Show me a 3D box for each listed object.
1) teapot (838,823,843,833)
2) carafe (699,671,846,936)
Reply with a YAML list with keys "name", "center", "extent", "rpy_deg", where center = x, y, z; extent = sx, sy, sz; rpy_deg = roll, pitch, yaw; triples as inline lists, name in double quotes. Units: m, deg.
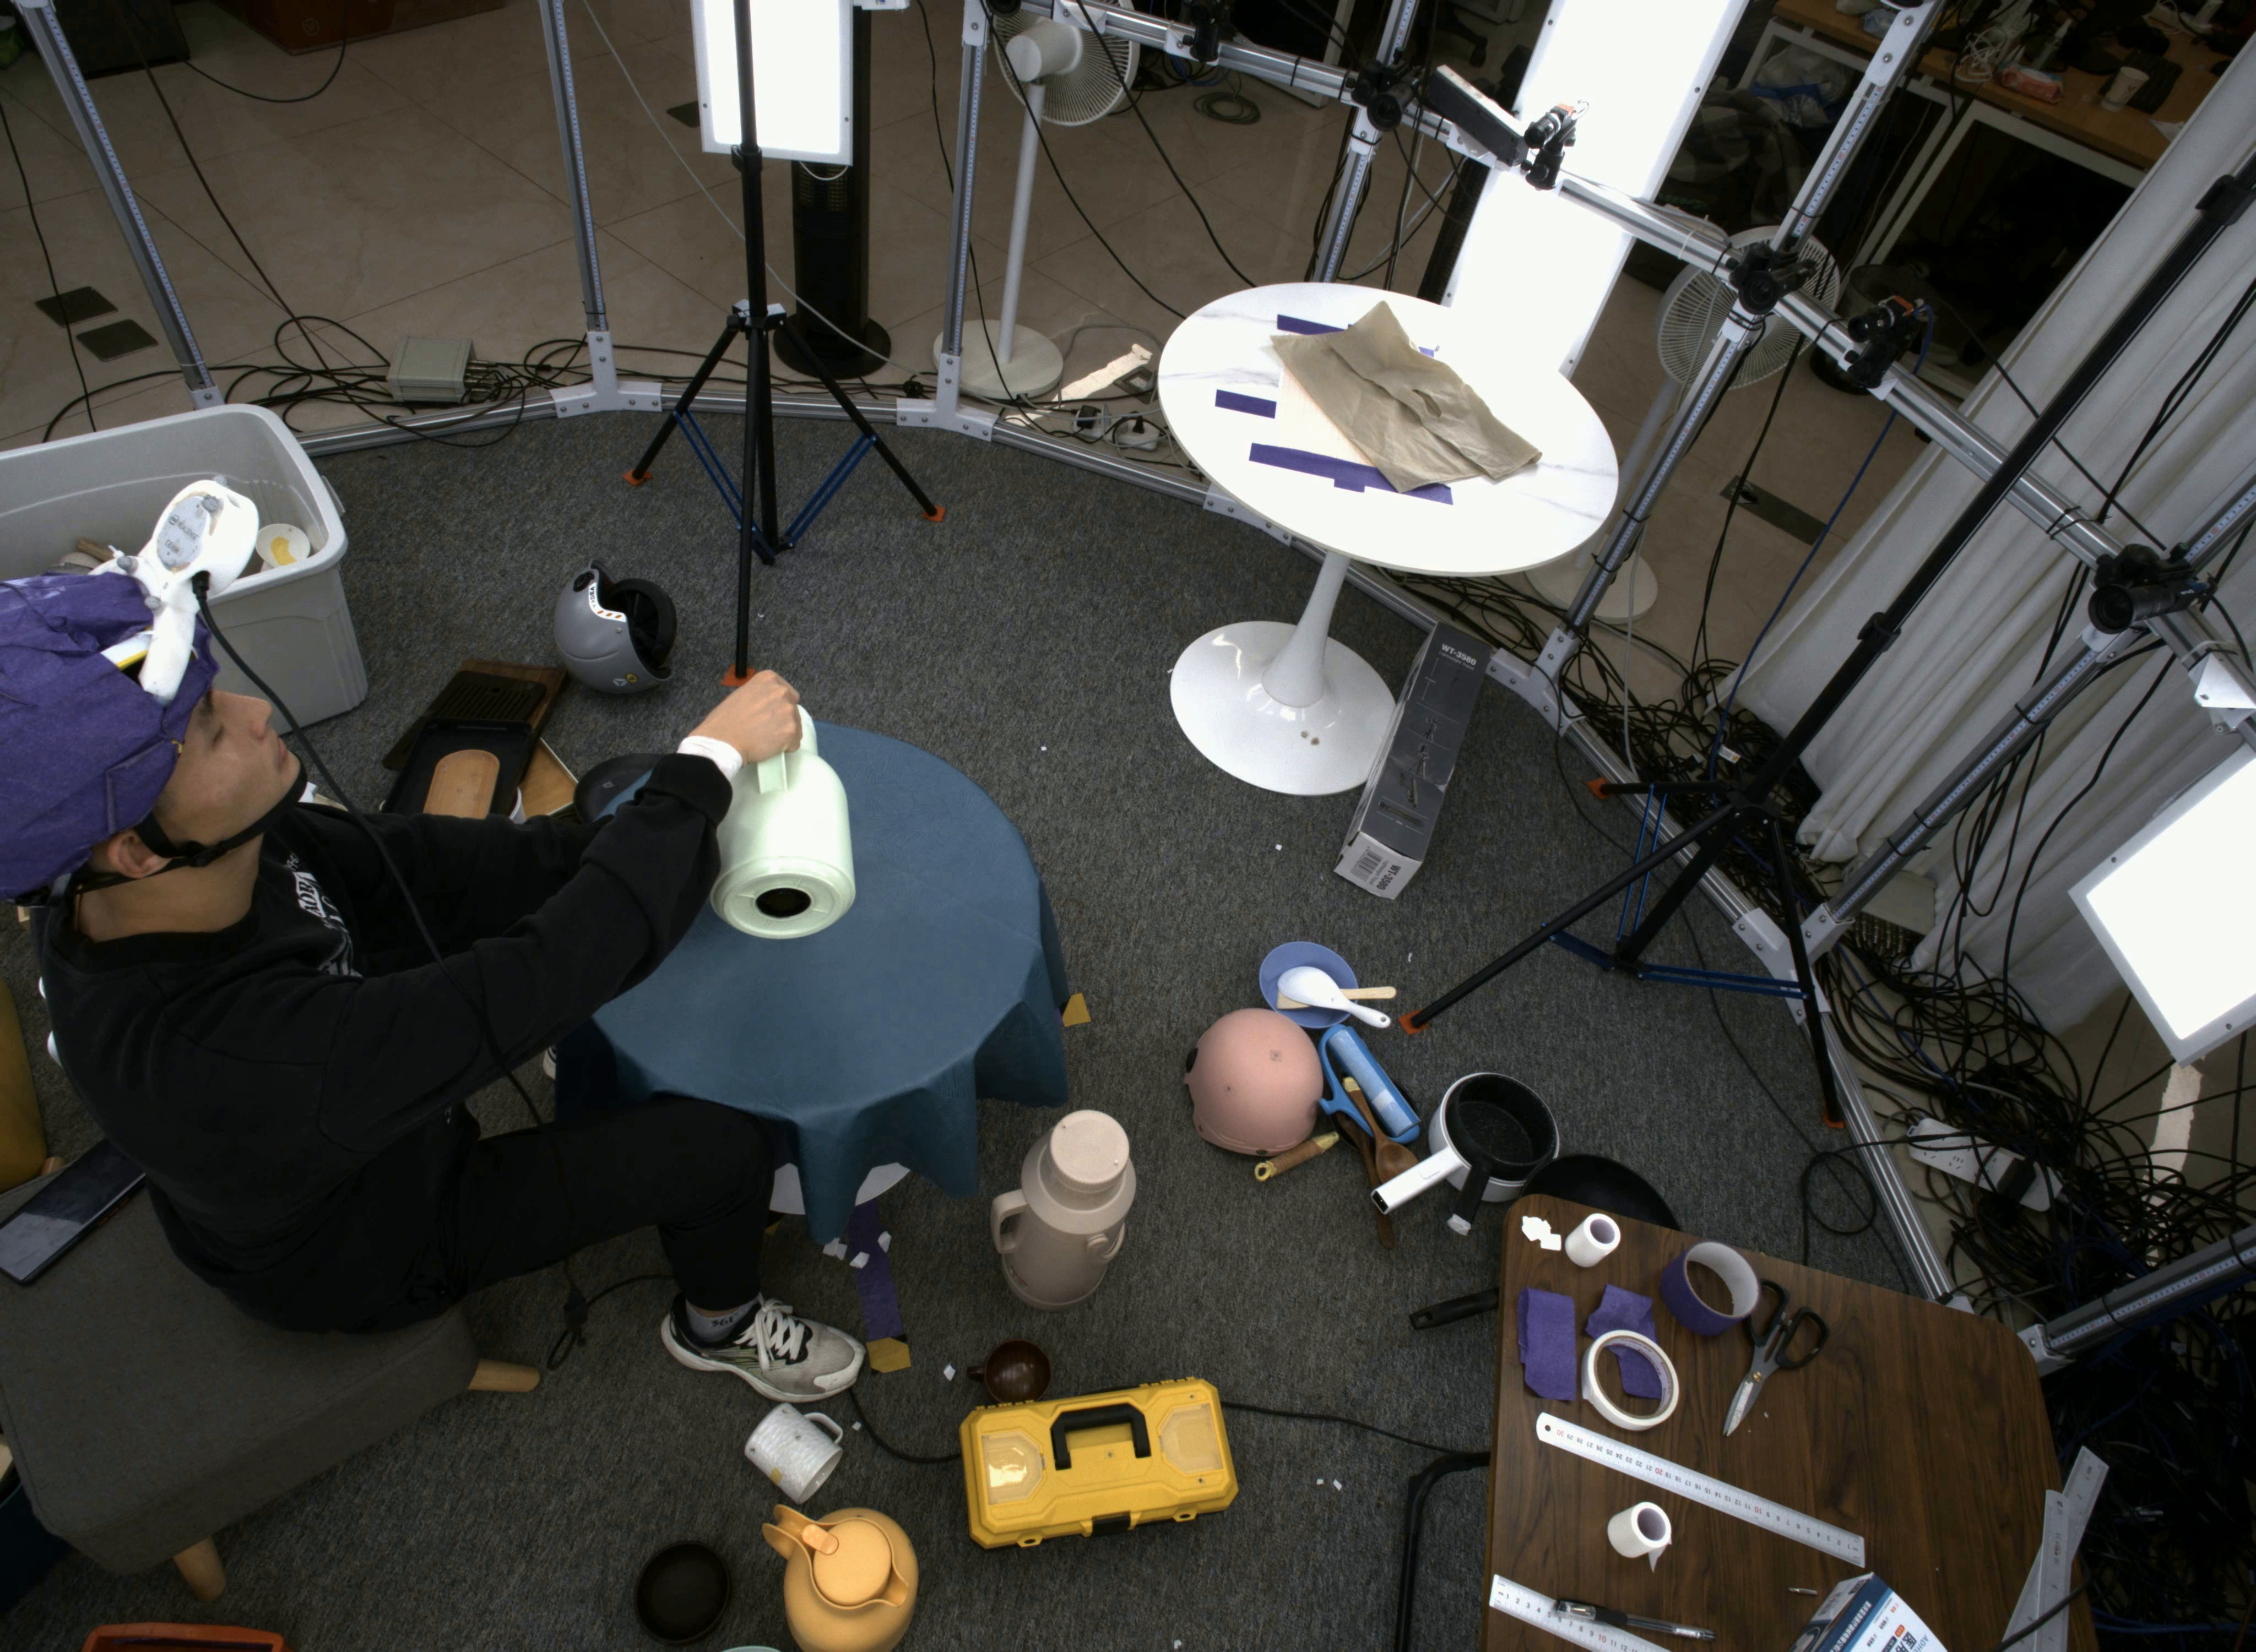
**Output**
- name: "teapot"
  center: [-0.422, 0.022, 1.614]
  extent: [0.134, 0.054, 0.088]
  rpy_deg: [-8, 54, -26]
- name: "carafe"
  center: [-0.371, -0.034, 1.346]
  extent: [0.144, 0.191, 0.251]
  rpy_deg: [-4, 57, -10]
